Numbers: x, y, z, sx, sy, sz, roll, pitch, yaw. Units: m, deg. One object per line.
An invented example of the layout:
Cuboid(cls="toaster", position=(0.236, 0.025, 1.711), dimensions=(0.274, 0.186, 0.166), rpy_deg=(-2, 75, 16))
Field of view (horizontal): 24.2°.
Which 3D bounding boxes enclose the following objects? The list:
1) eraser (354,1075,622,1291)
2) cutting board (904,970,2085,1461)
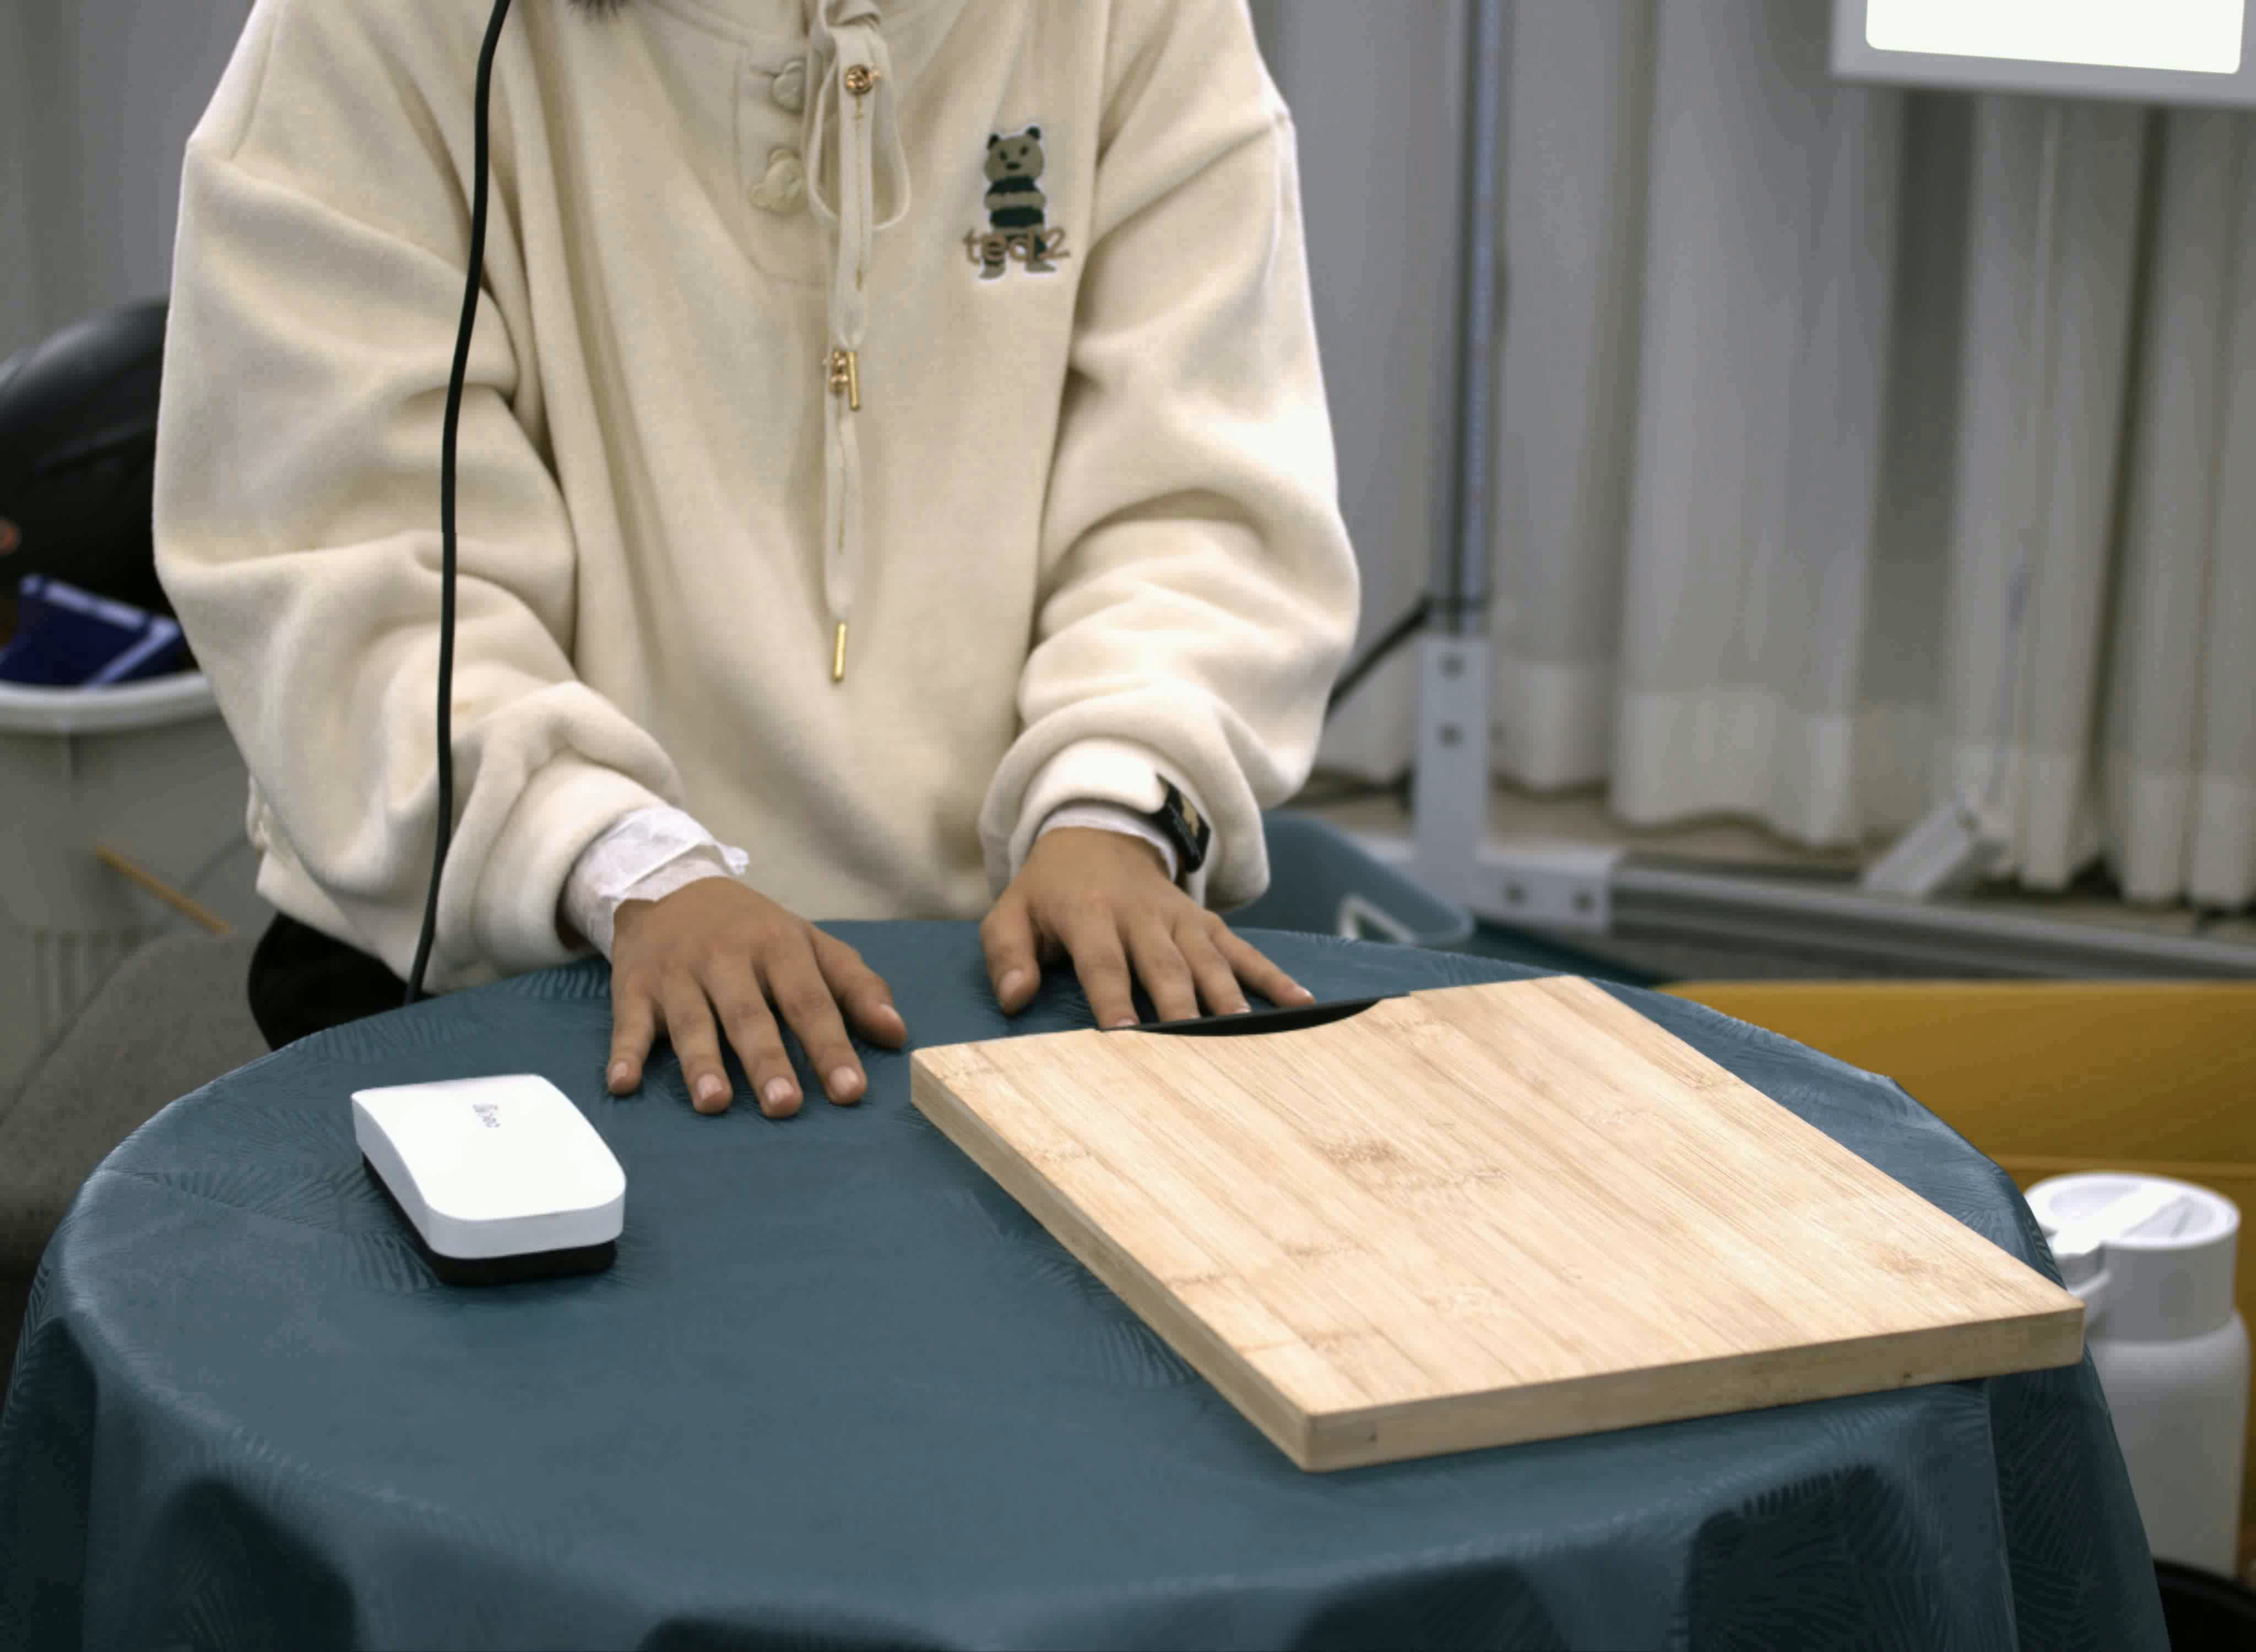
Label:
Cuboid(cls="eraser", position=(-0.193, 0.103, 1.591), dimensions=(0.063, 0.035, 0.130), rpy_deg=(-6, 17, -18))
Cuboid(cls="cutting board", position=(0.099, 0.111, 1.599), dimensions=(0.251, 0.024, 0.344), rpy_deg=(-6, 17, -21))
